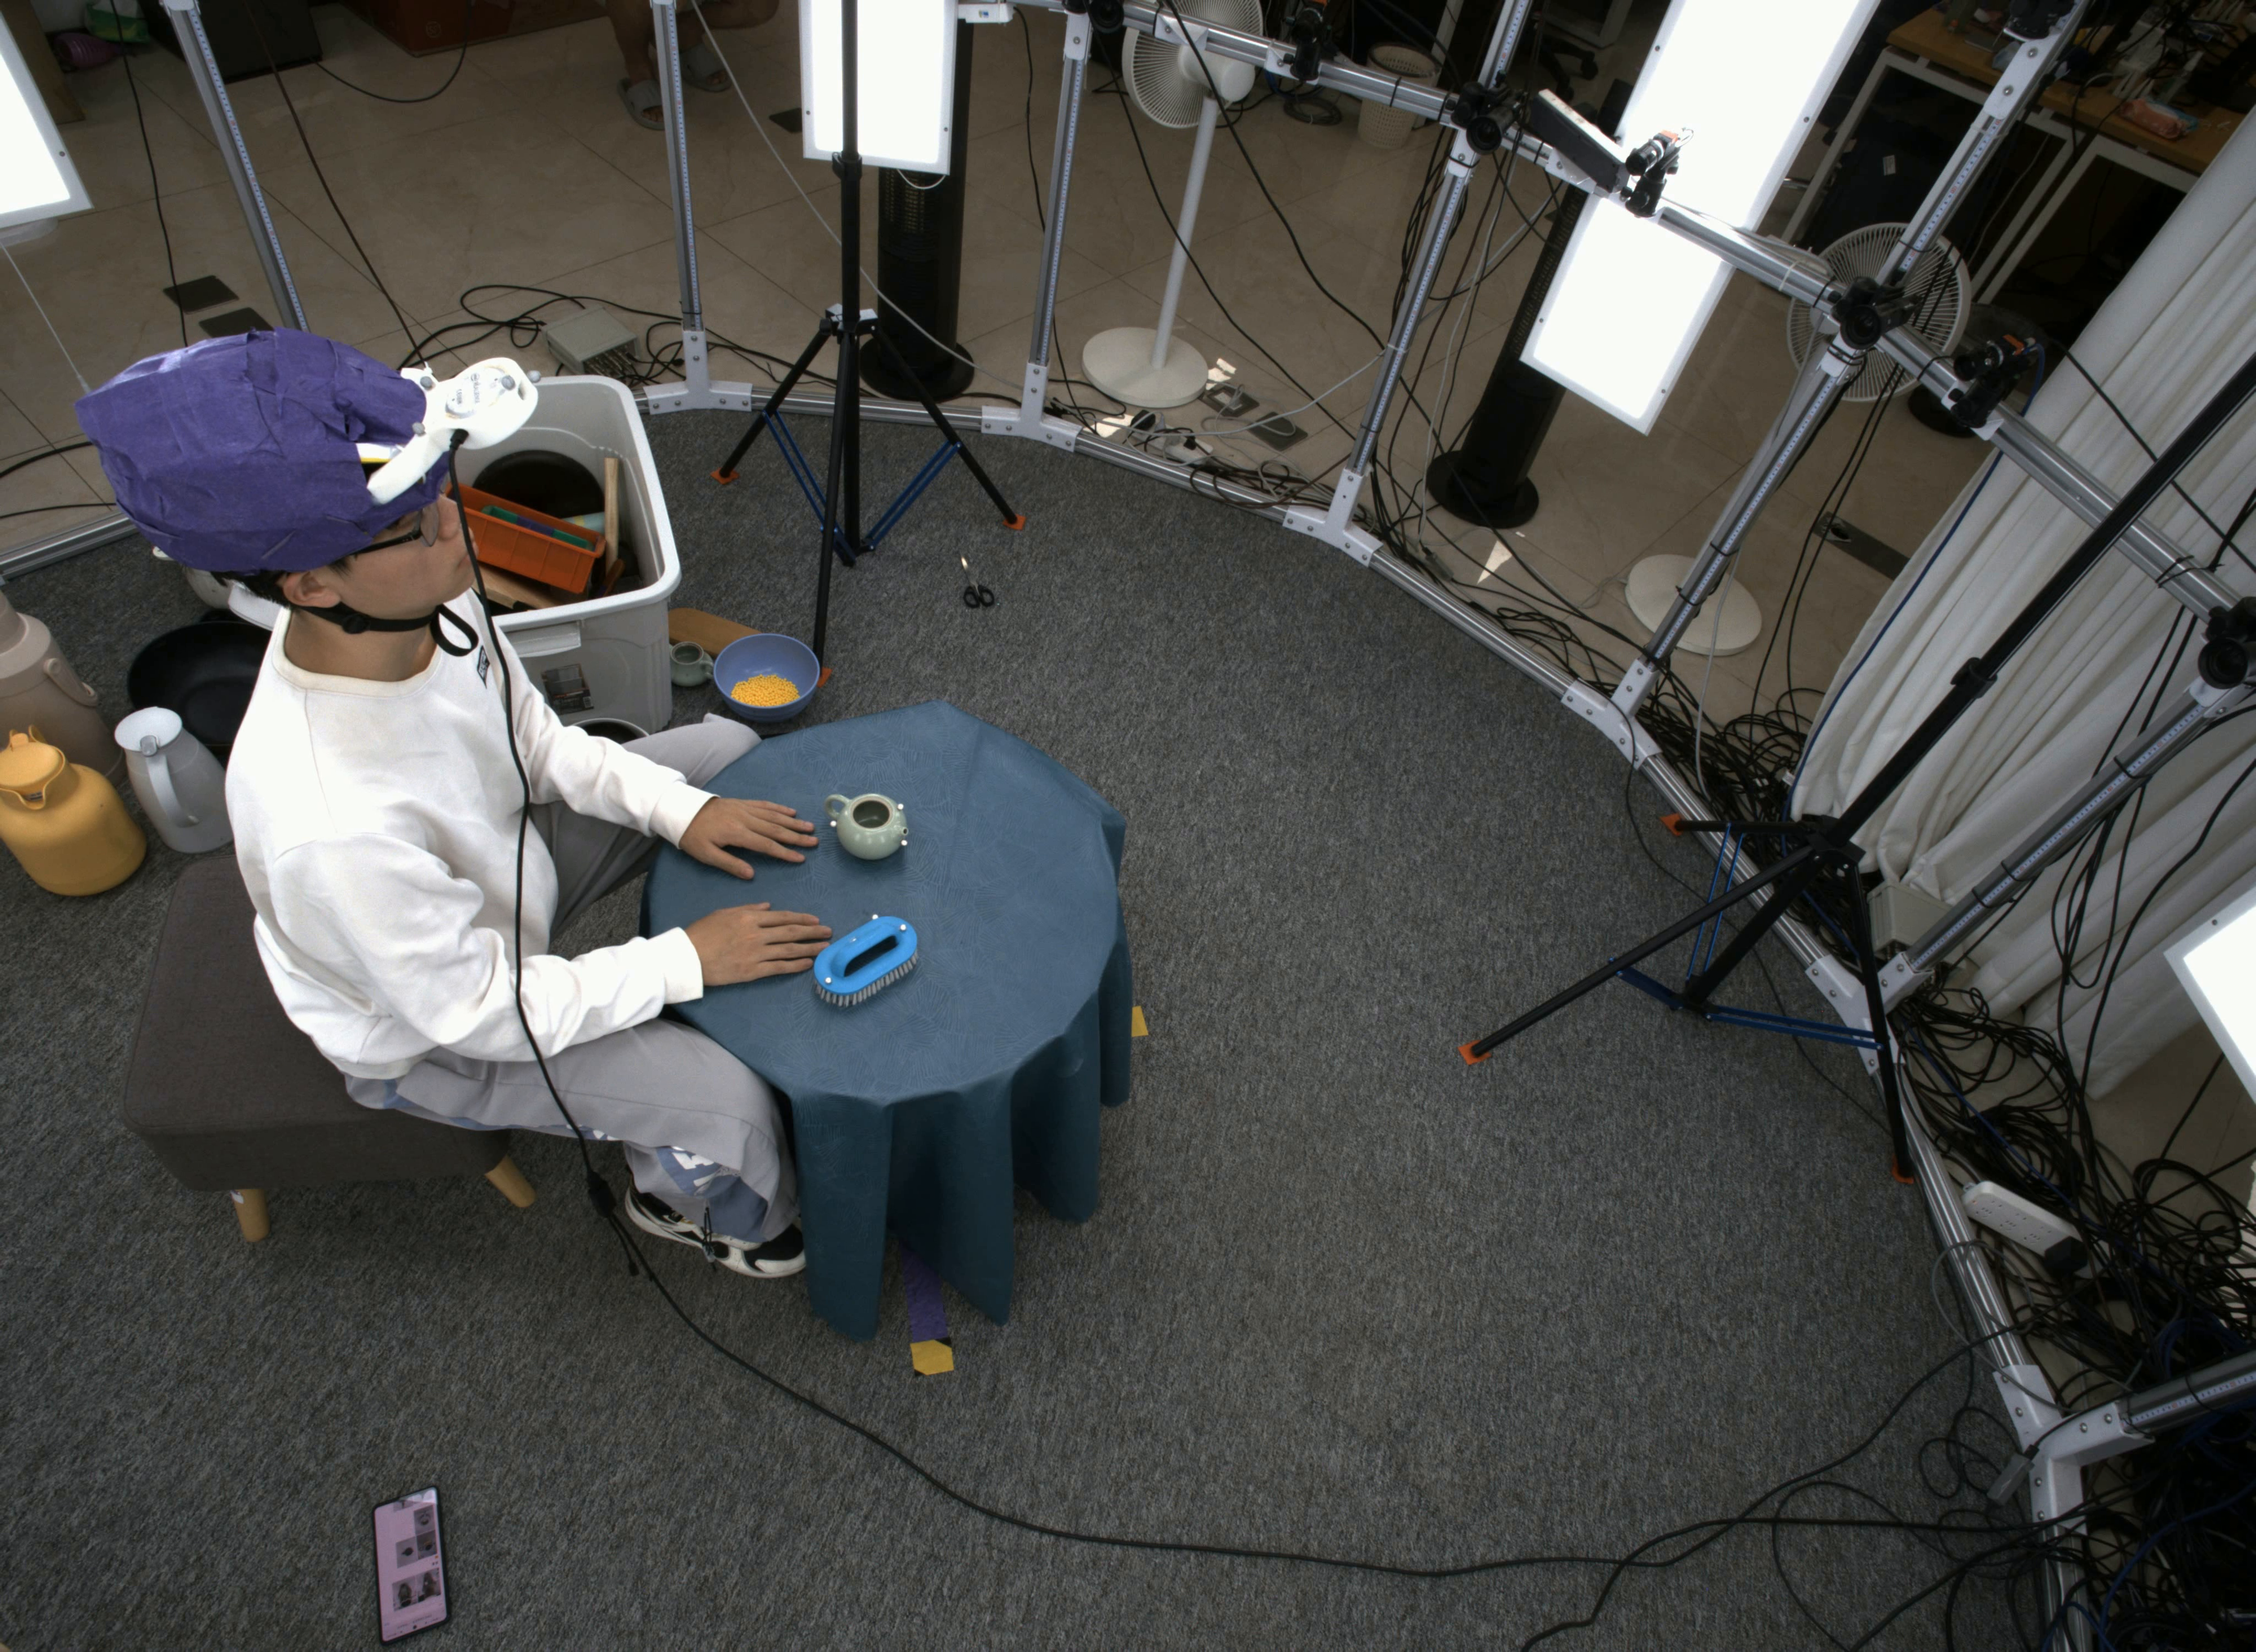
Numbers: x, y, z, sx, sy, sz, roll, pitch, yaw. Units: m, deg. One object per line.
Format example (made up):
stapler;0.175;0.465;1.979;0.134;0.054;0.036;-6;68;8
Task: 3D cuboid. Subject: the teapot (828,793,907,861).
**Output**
teapot;-0.346;-0.004;1.719;0.126;0.062;0.091;29;56;12

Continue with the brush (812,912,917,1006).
brush;-0.323;0.156;1.601;0.142;0.065;0.083;-32;70;-29
